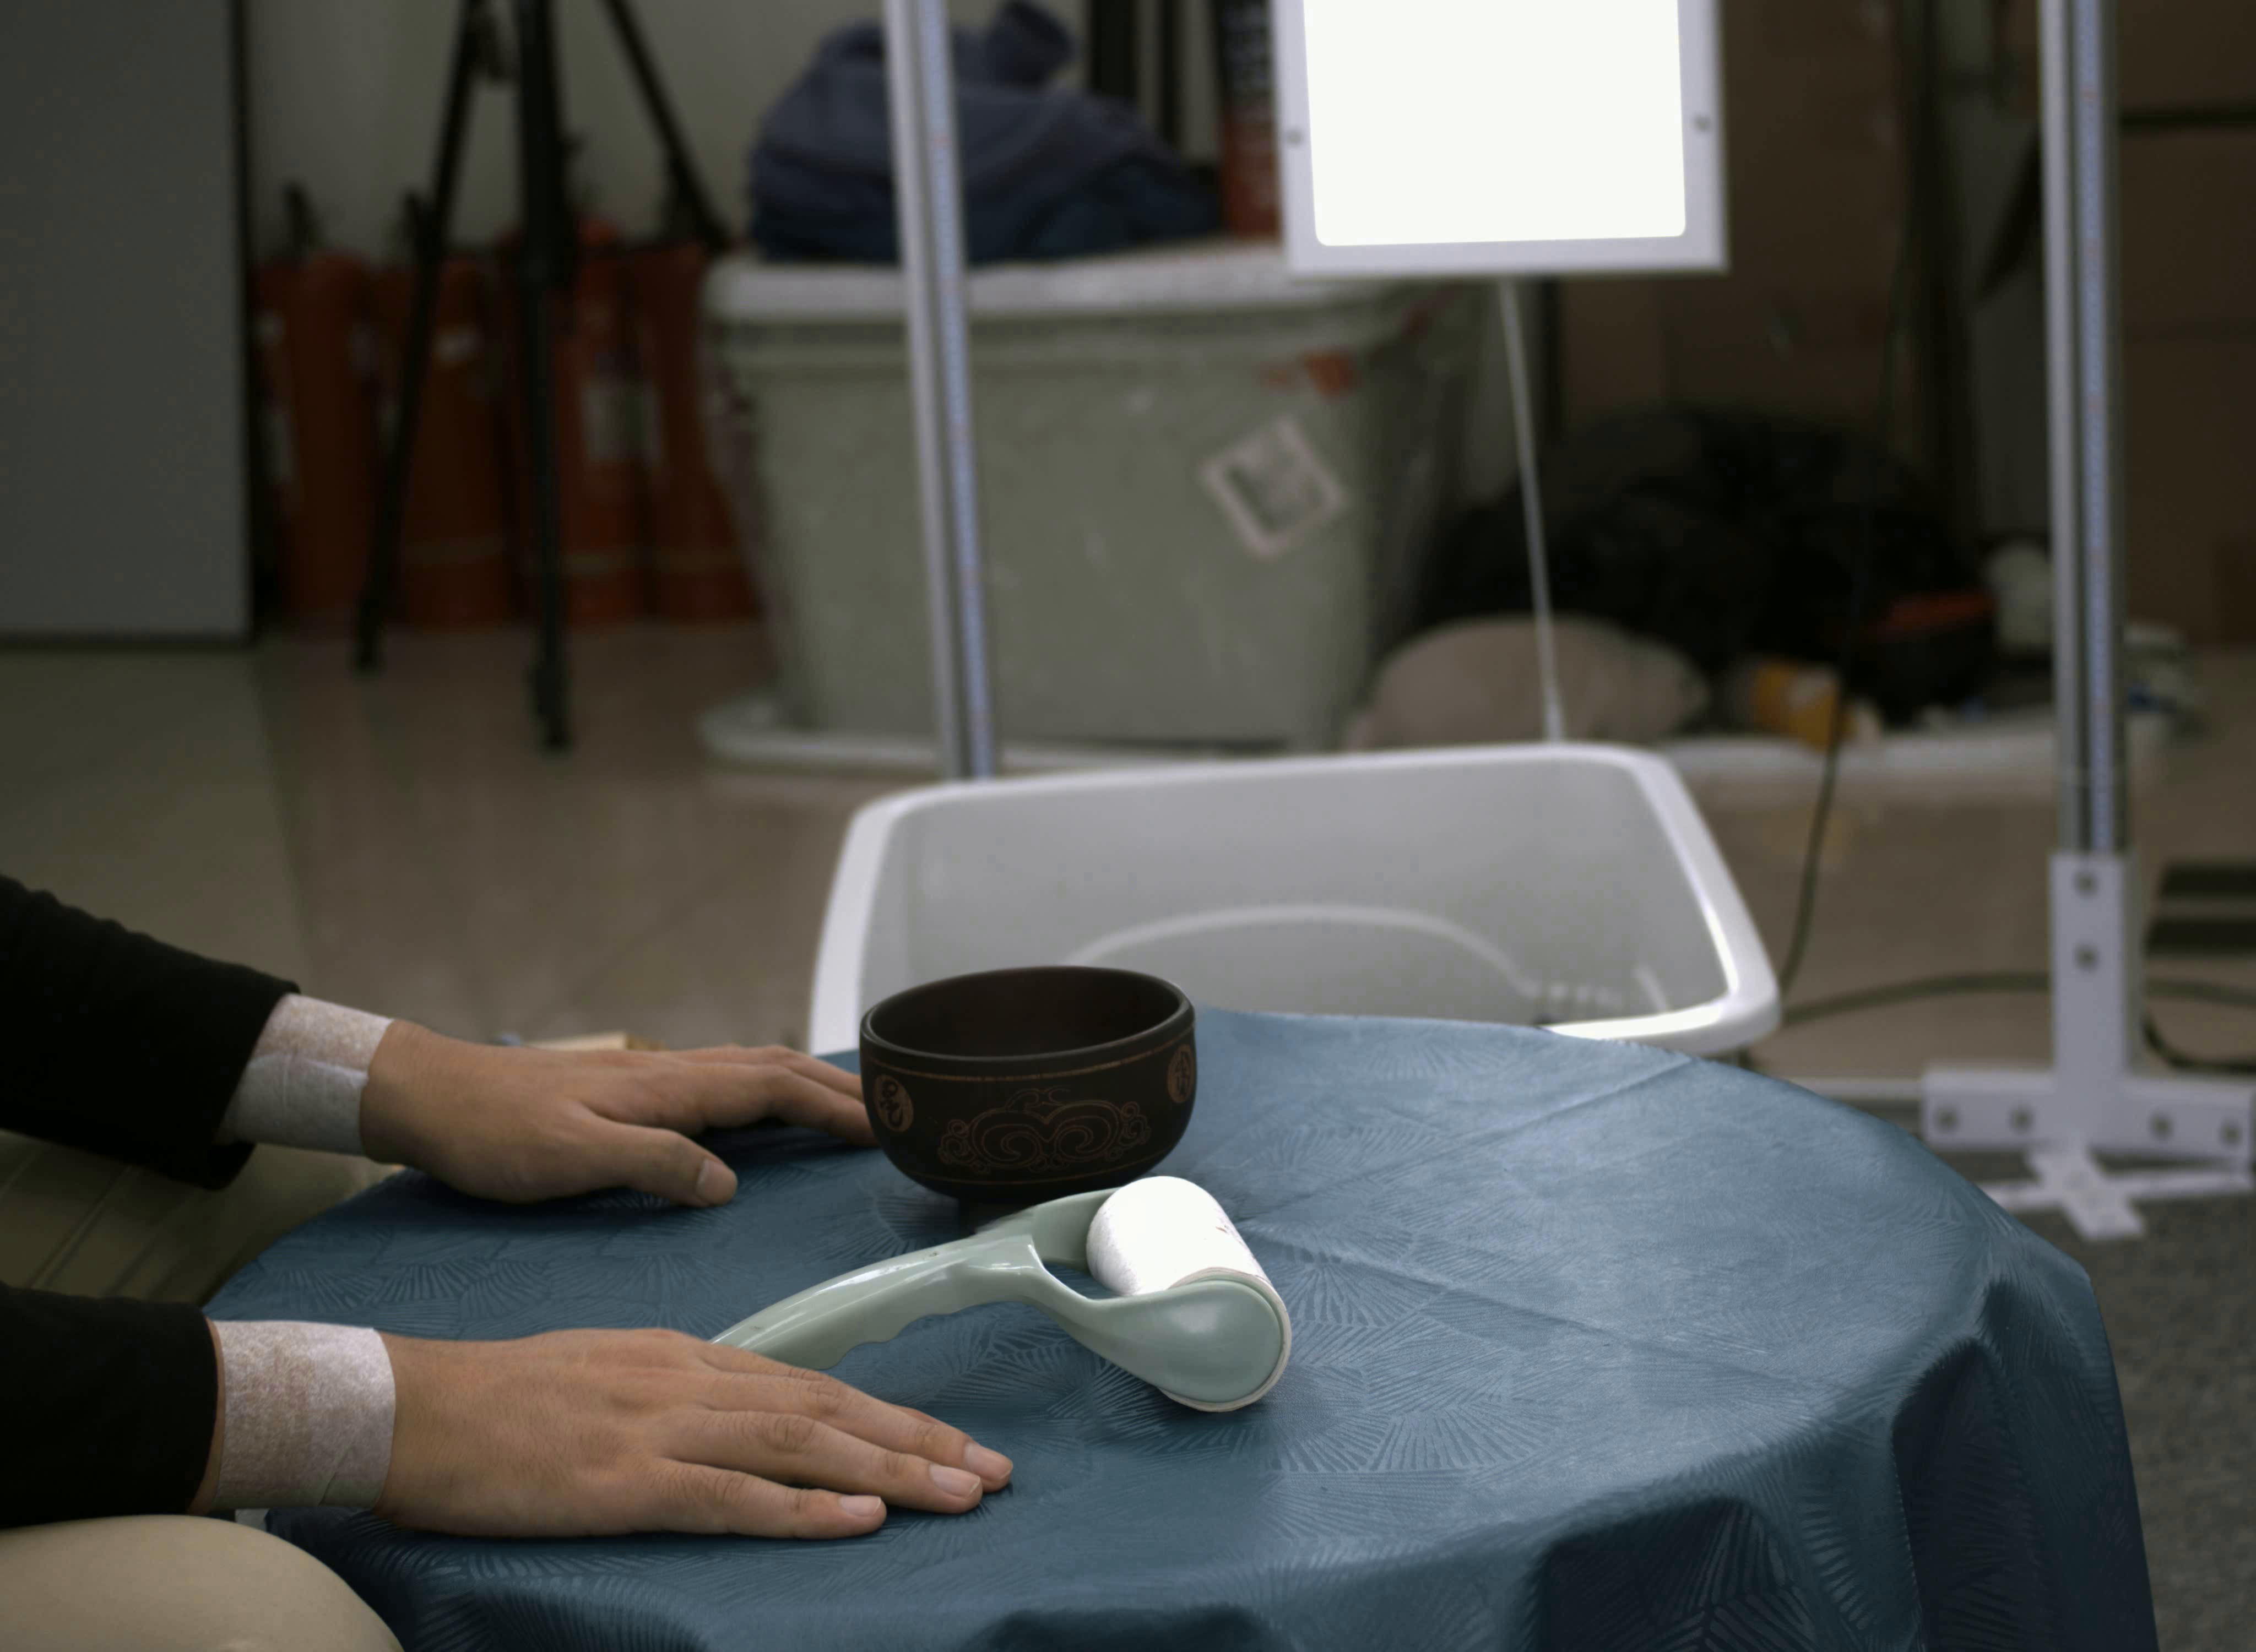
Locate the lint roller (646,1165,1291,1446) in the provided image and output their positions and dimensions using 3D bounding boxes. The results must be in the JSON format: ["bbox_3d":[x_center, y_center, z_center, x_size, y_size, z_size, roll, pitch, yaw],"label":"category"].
[{"bbox_3d":[-0.054,0.153,1.718,0.196,0.048,0.117,-8,15,-7],"label":"lint roller"}]

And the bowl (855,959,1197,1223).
[{"bbox_3d":[-0.033,0.095,1.889,0.118,0.070,0.118,-6,15,0],"label":"bowl"}]
